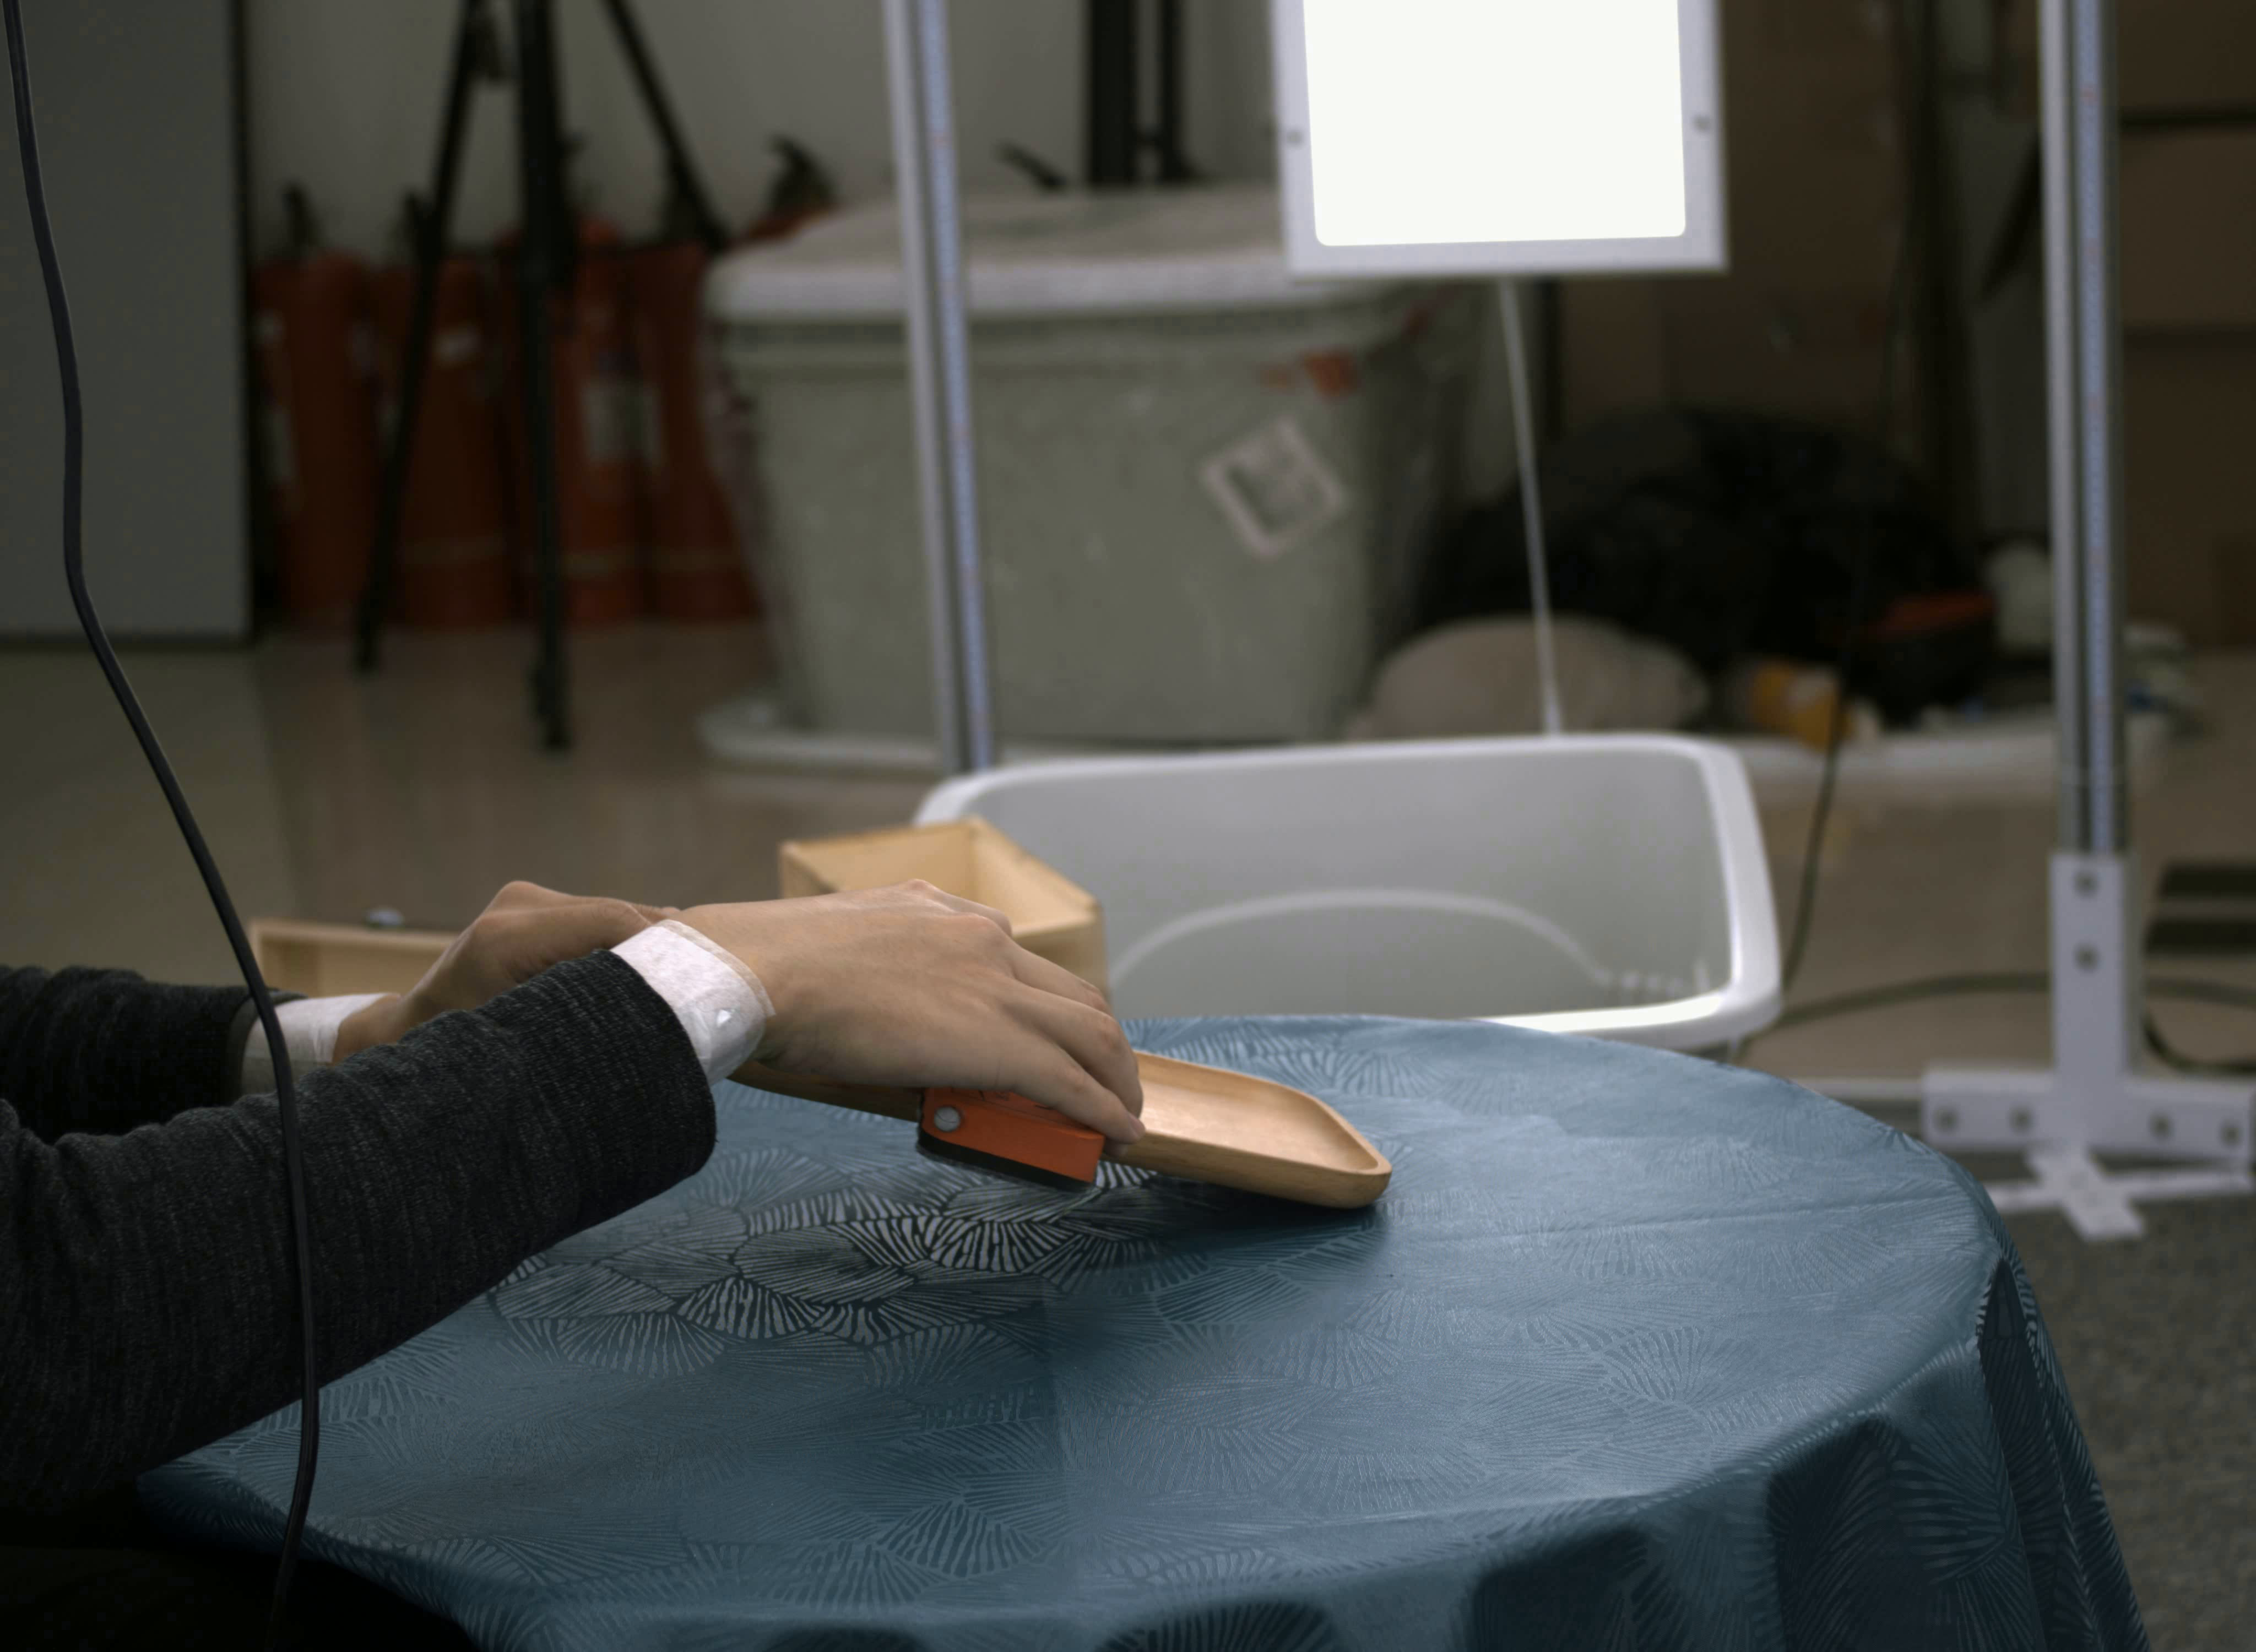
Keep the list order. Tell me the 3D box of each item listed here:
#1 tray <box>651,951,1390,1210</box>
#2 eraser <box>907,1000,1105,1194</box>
[{"bbox_3d":[-0.038,0.087,1.871,0.247,0.023,0.131,12,7,-13],"label":"tray"},{"bbox_3d":[-0.038,0.086,1.775,0.059,0.023,0.107,14,14,-2],"label":"eraser"}]
